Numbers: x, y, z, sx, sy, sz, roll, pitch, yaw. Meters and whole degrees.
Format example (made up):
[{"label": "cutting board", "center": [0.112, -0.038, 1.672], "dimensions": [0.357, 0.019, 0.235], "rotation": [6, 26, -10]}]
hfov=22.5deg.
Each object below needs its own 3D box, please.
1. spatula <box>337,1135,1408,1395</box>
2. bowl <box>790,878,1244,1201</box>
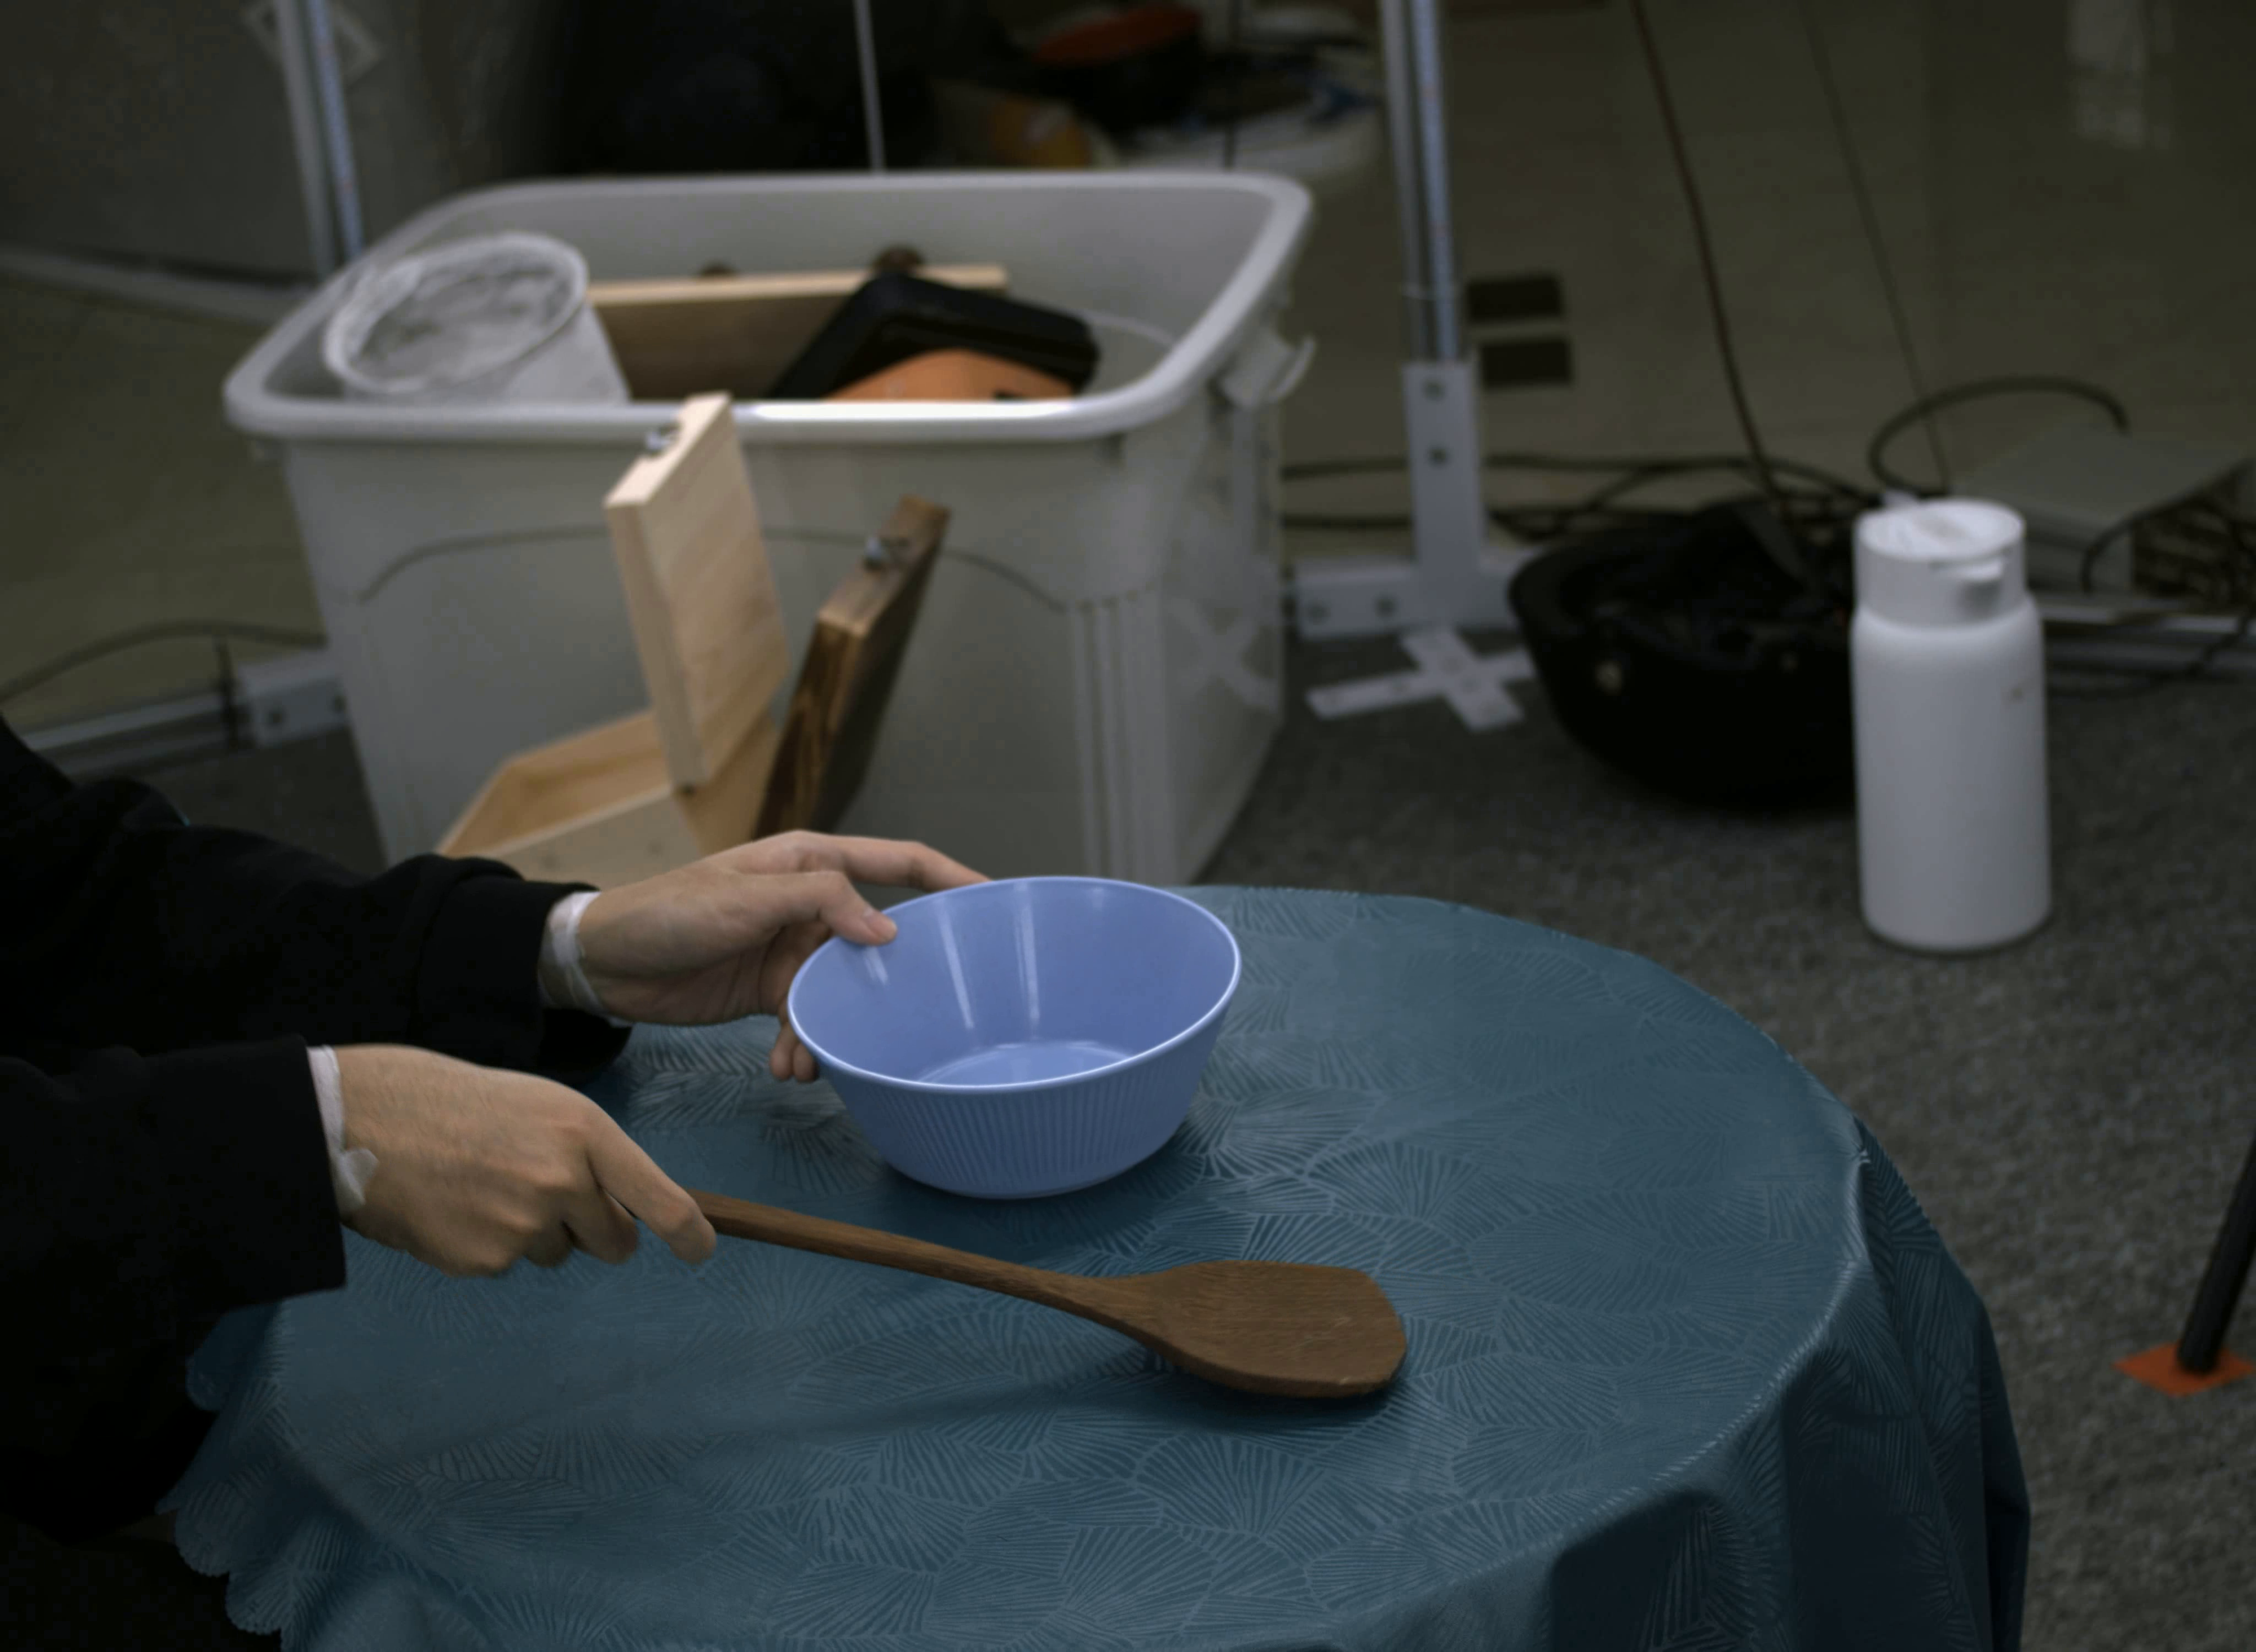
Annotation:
[{"label": "spatula", "center": [-0.089, 0.151, 2.008], "dimensions": [0.386, 0.016, 0.095], "rotation": [11, 21, -6]}, {"label": "bowl", "center": [-0.039, 0.088, 2.186], "dimensions": [0.176, 0.071, 0.173], "rotation": [-6, 26, 3]}]
